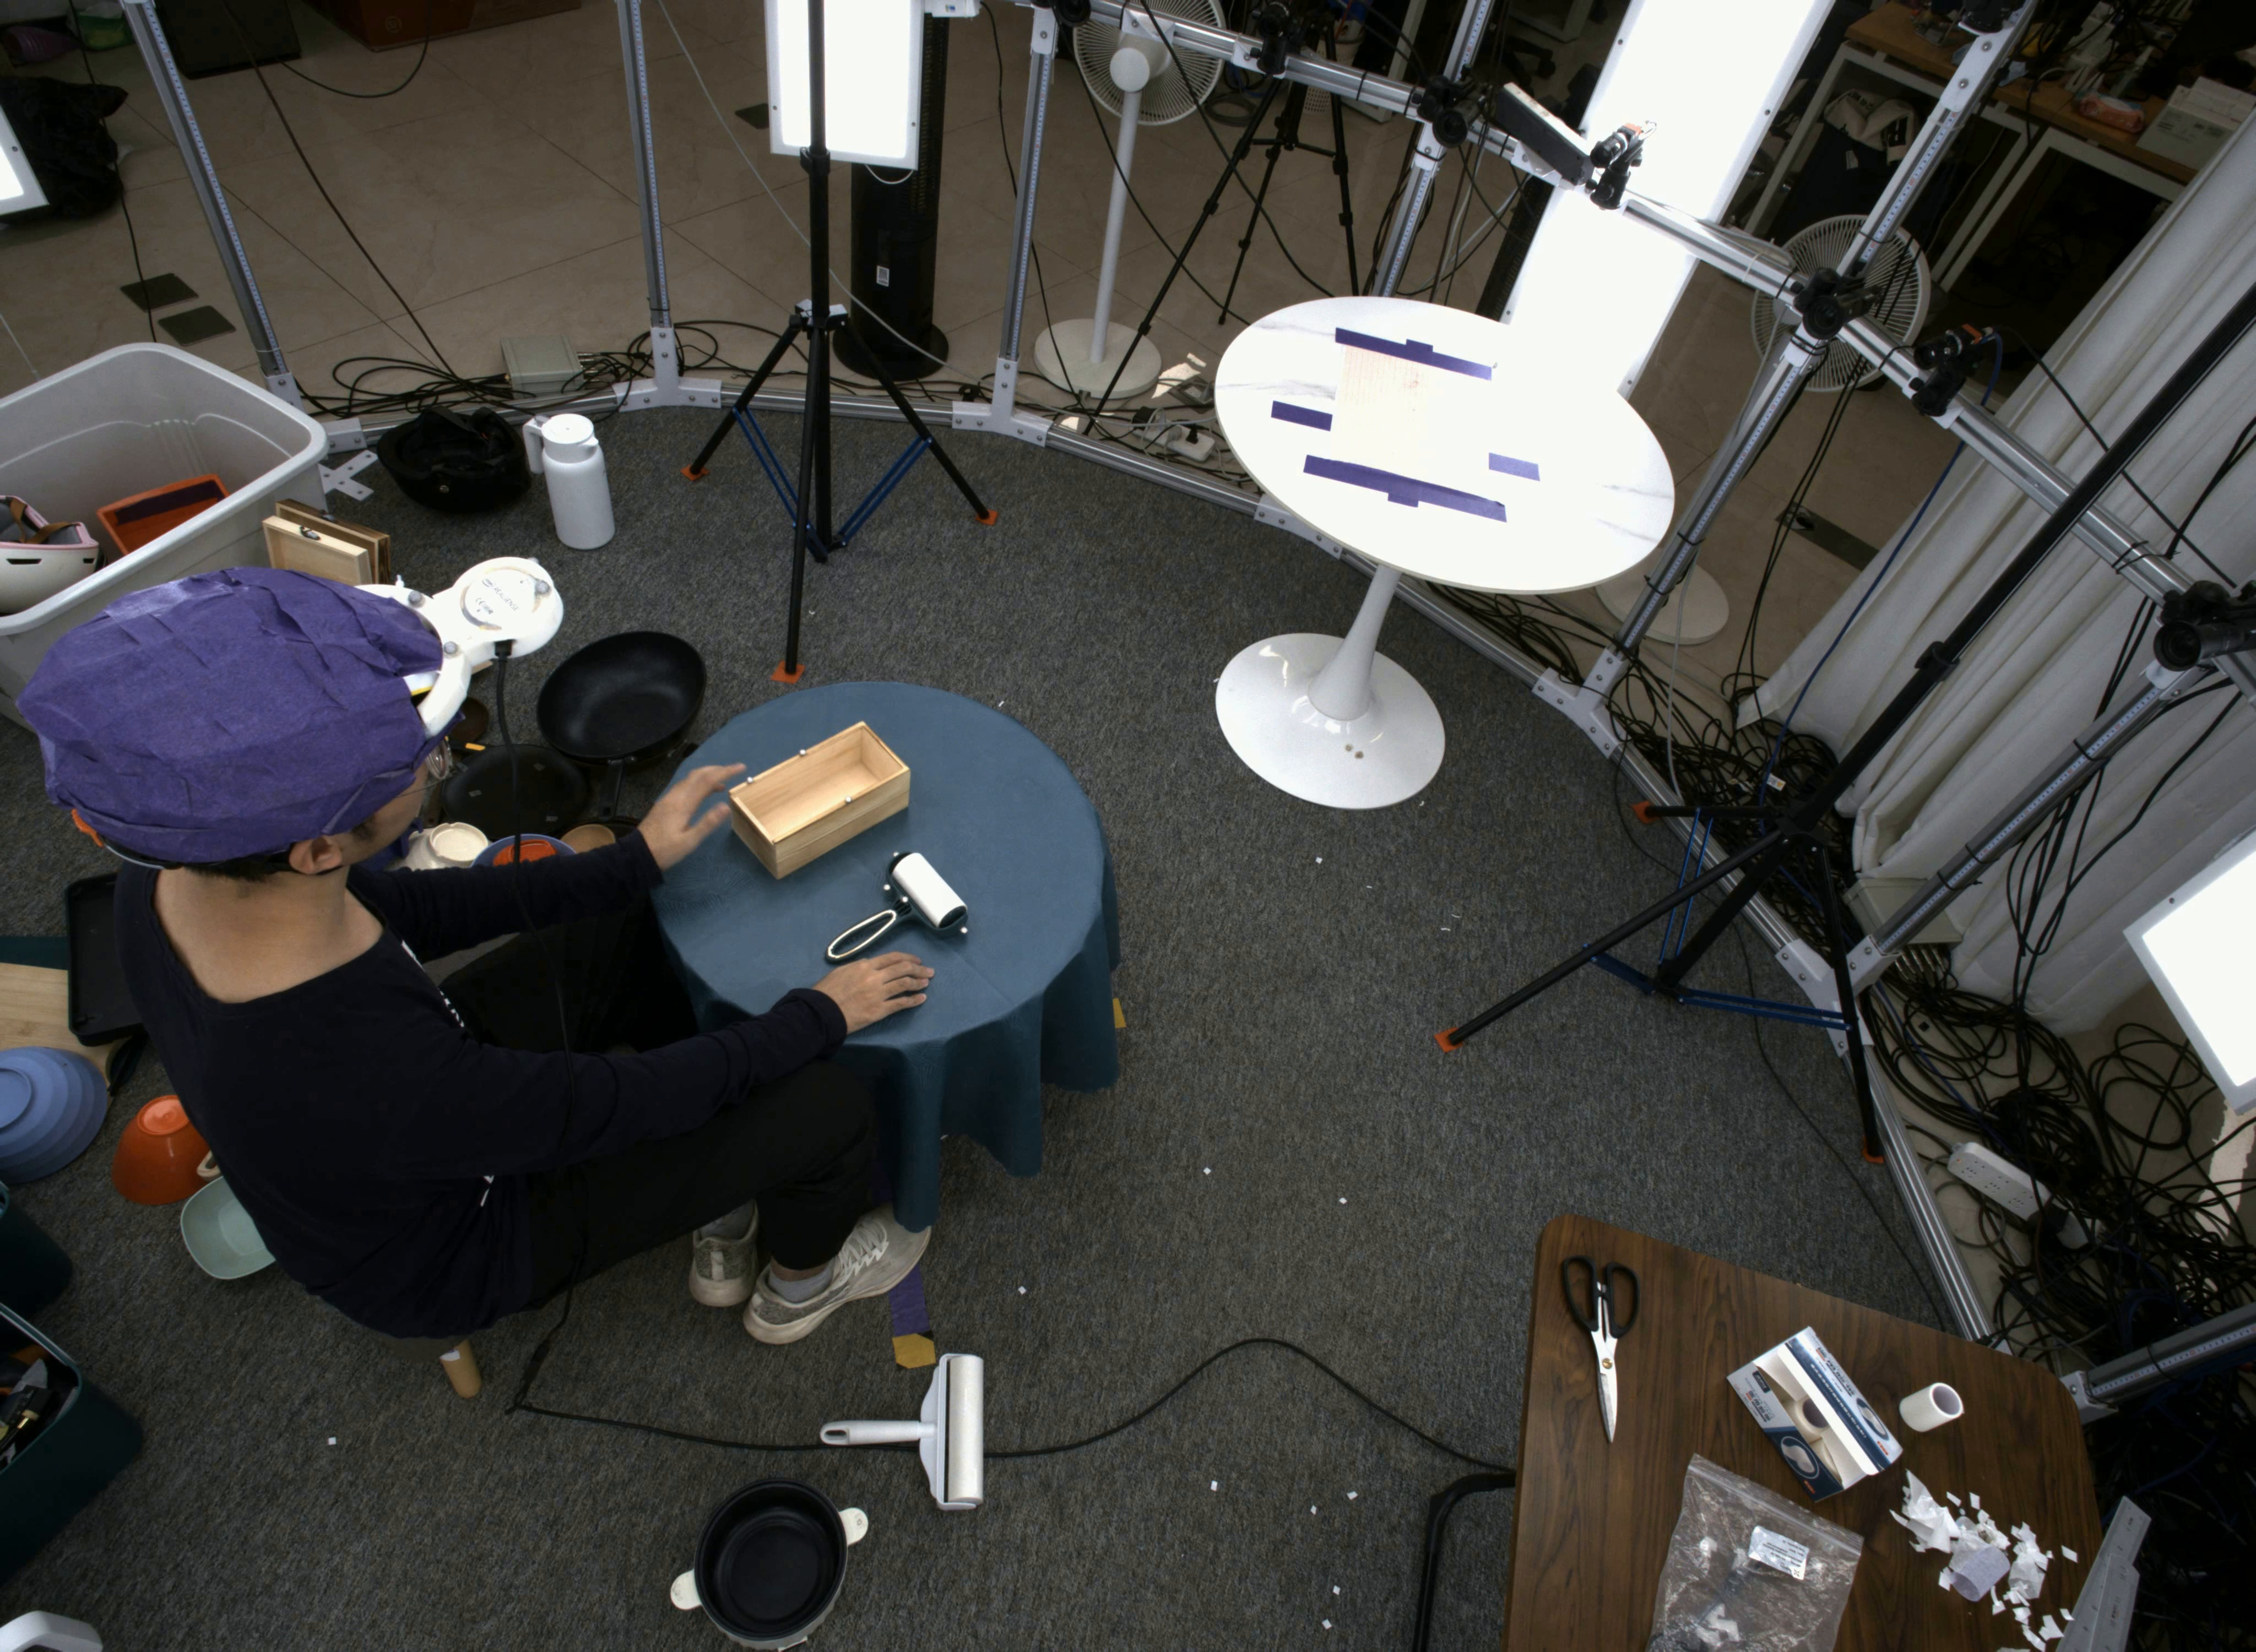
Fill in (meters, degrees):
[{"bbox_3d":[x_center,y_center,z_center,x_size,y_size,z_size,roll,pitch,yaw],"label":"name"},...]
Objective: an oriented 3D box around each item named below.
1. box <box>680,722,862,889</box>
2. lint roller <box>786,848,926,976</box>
[{"bbox_3d":[-0.464,-0.030,1.696,0.105,0.082,0.212,41,57,17],"label":"box"},{"bbox_3d":[-0.358,0.120,1.637,0.131,0.049,0.180,42,59,19],"label":"lint roller"}]
